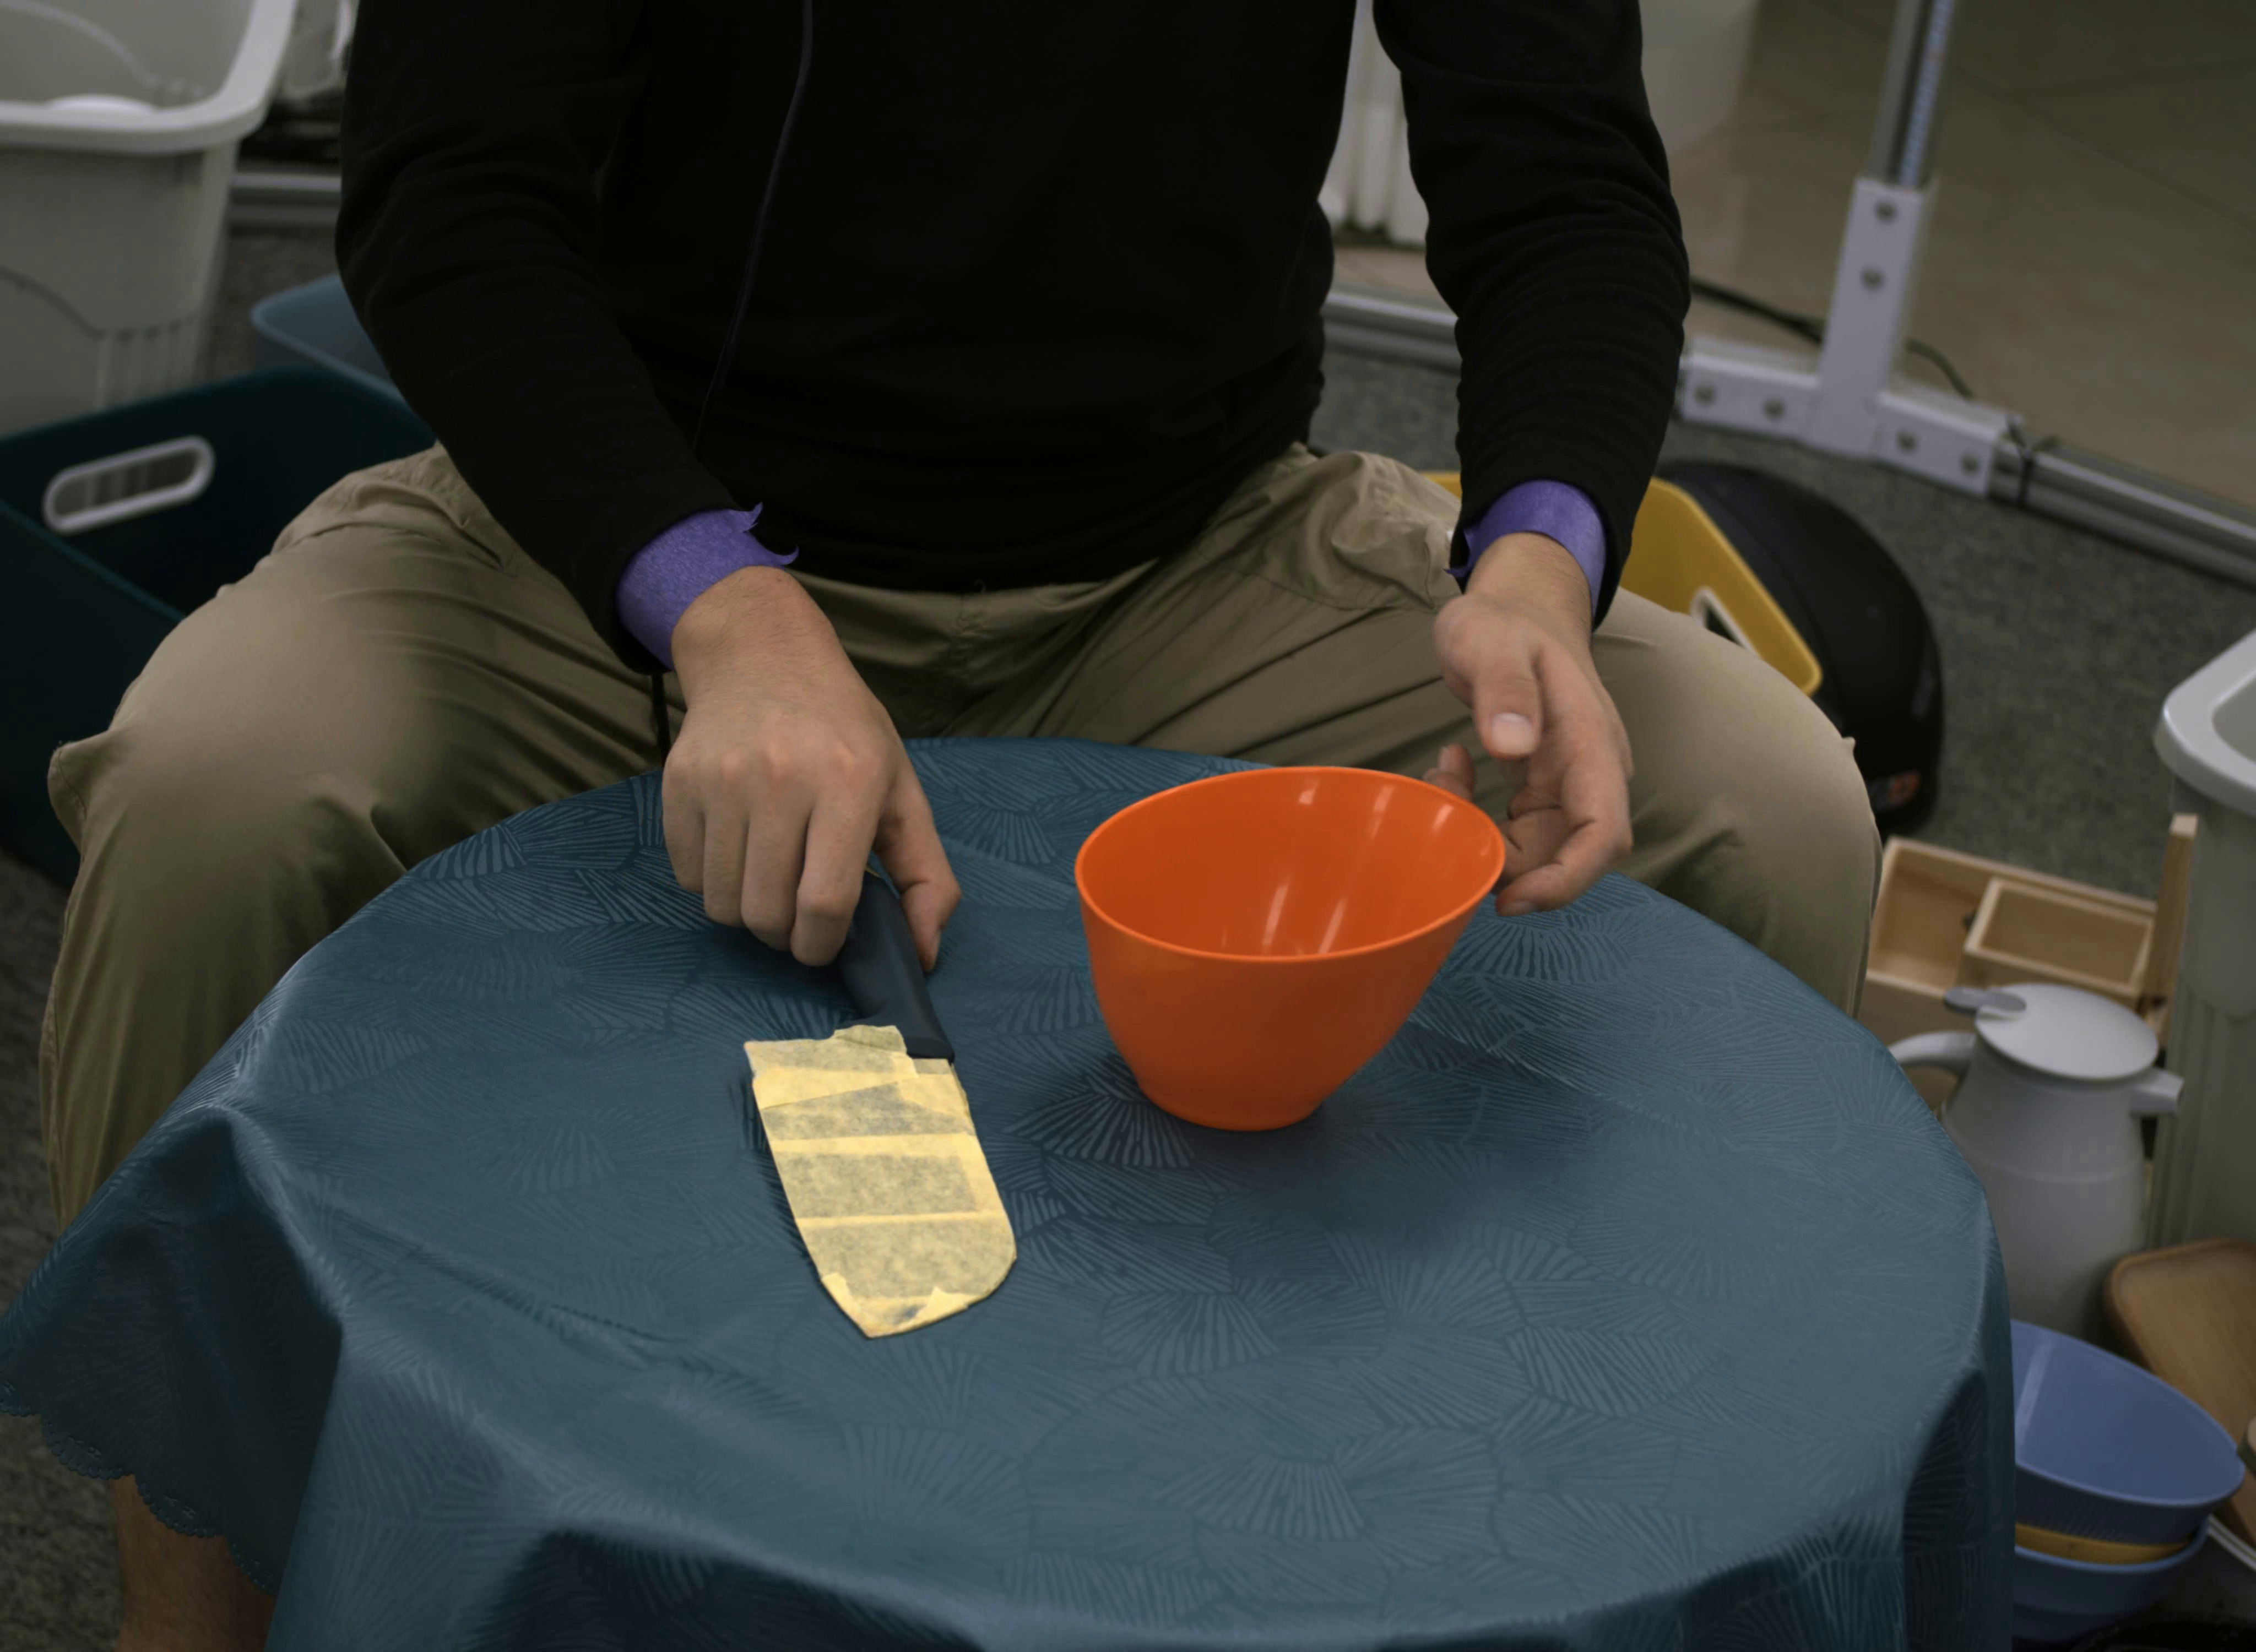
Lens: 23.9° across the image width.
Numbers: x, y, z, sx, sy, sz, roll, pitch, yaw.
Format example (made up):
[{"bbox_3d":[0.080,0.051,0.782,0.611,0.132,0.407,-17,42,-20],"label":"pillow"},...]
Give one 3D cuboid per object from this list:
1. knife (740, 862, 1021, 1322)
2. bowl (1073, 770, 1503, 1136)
[{"bbox_3d":[-0.092,0.090,1.836,0.080,0.027,0.292,3,28,-13],"label":"knife"},{"bbox_3d":[0.051,0.049,1.853,0.147,0.104,0.149,4,27,-3],"label":"bowl"}]
